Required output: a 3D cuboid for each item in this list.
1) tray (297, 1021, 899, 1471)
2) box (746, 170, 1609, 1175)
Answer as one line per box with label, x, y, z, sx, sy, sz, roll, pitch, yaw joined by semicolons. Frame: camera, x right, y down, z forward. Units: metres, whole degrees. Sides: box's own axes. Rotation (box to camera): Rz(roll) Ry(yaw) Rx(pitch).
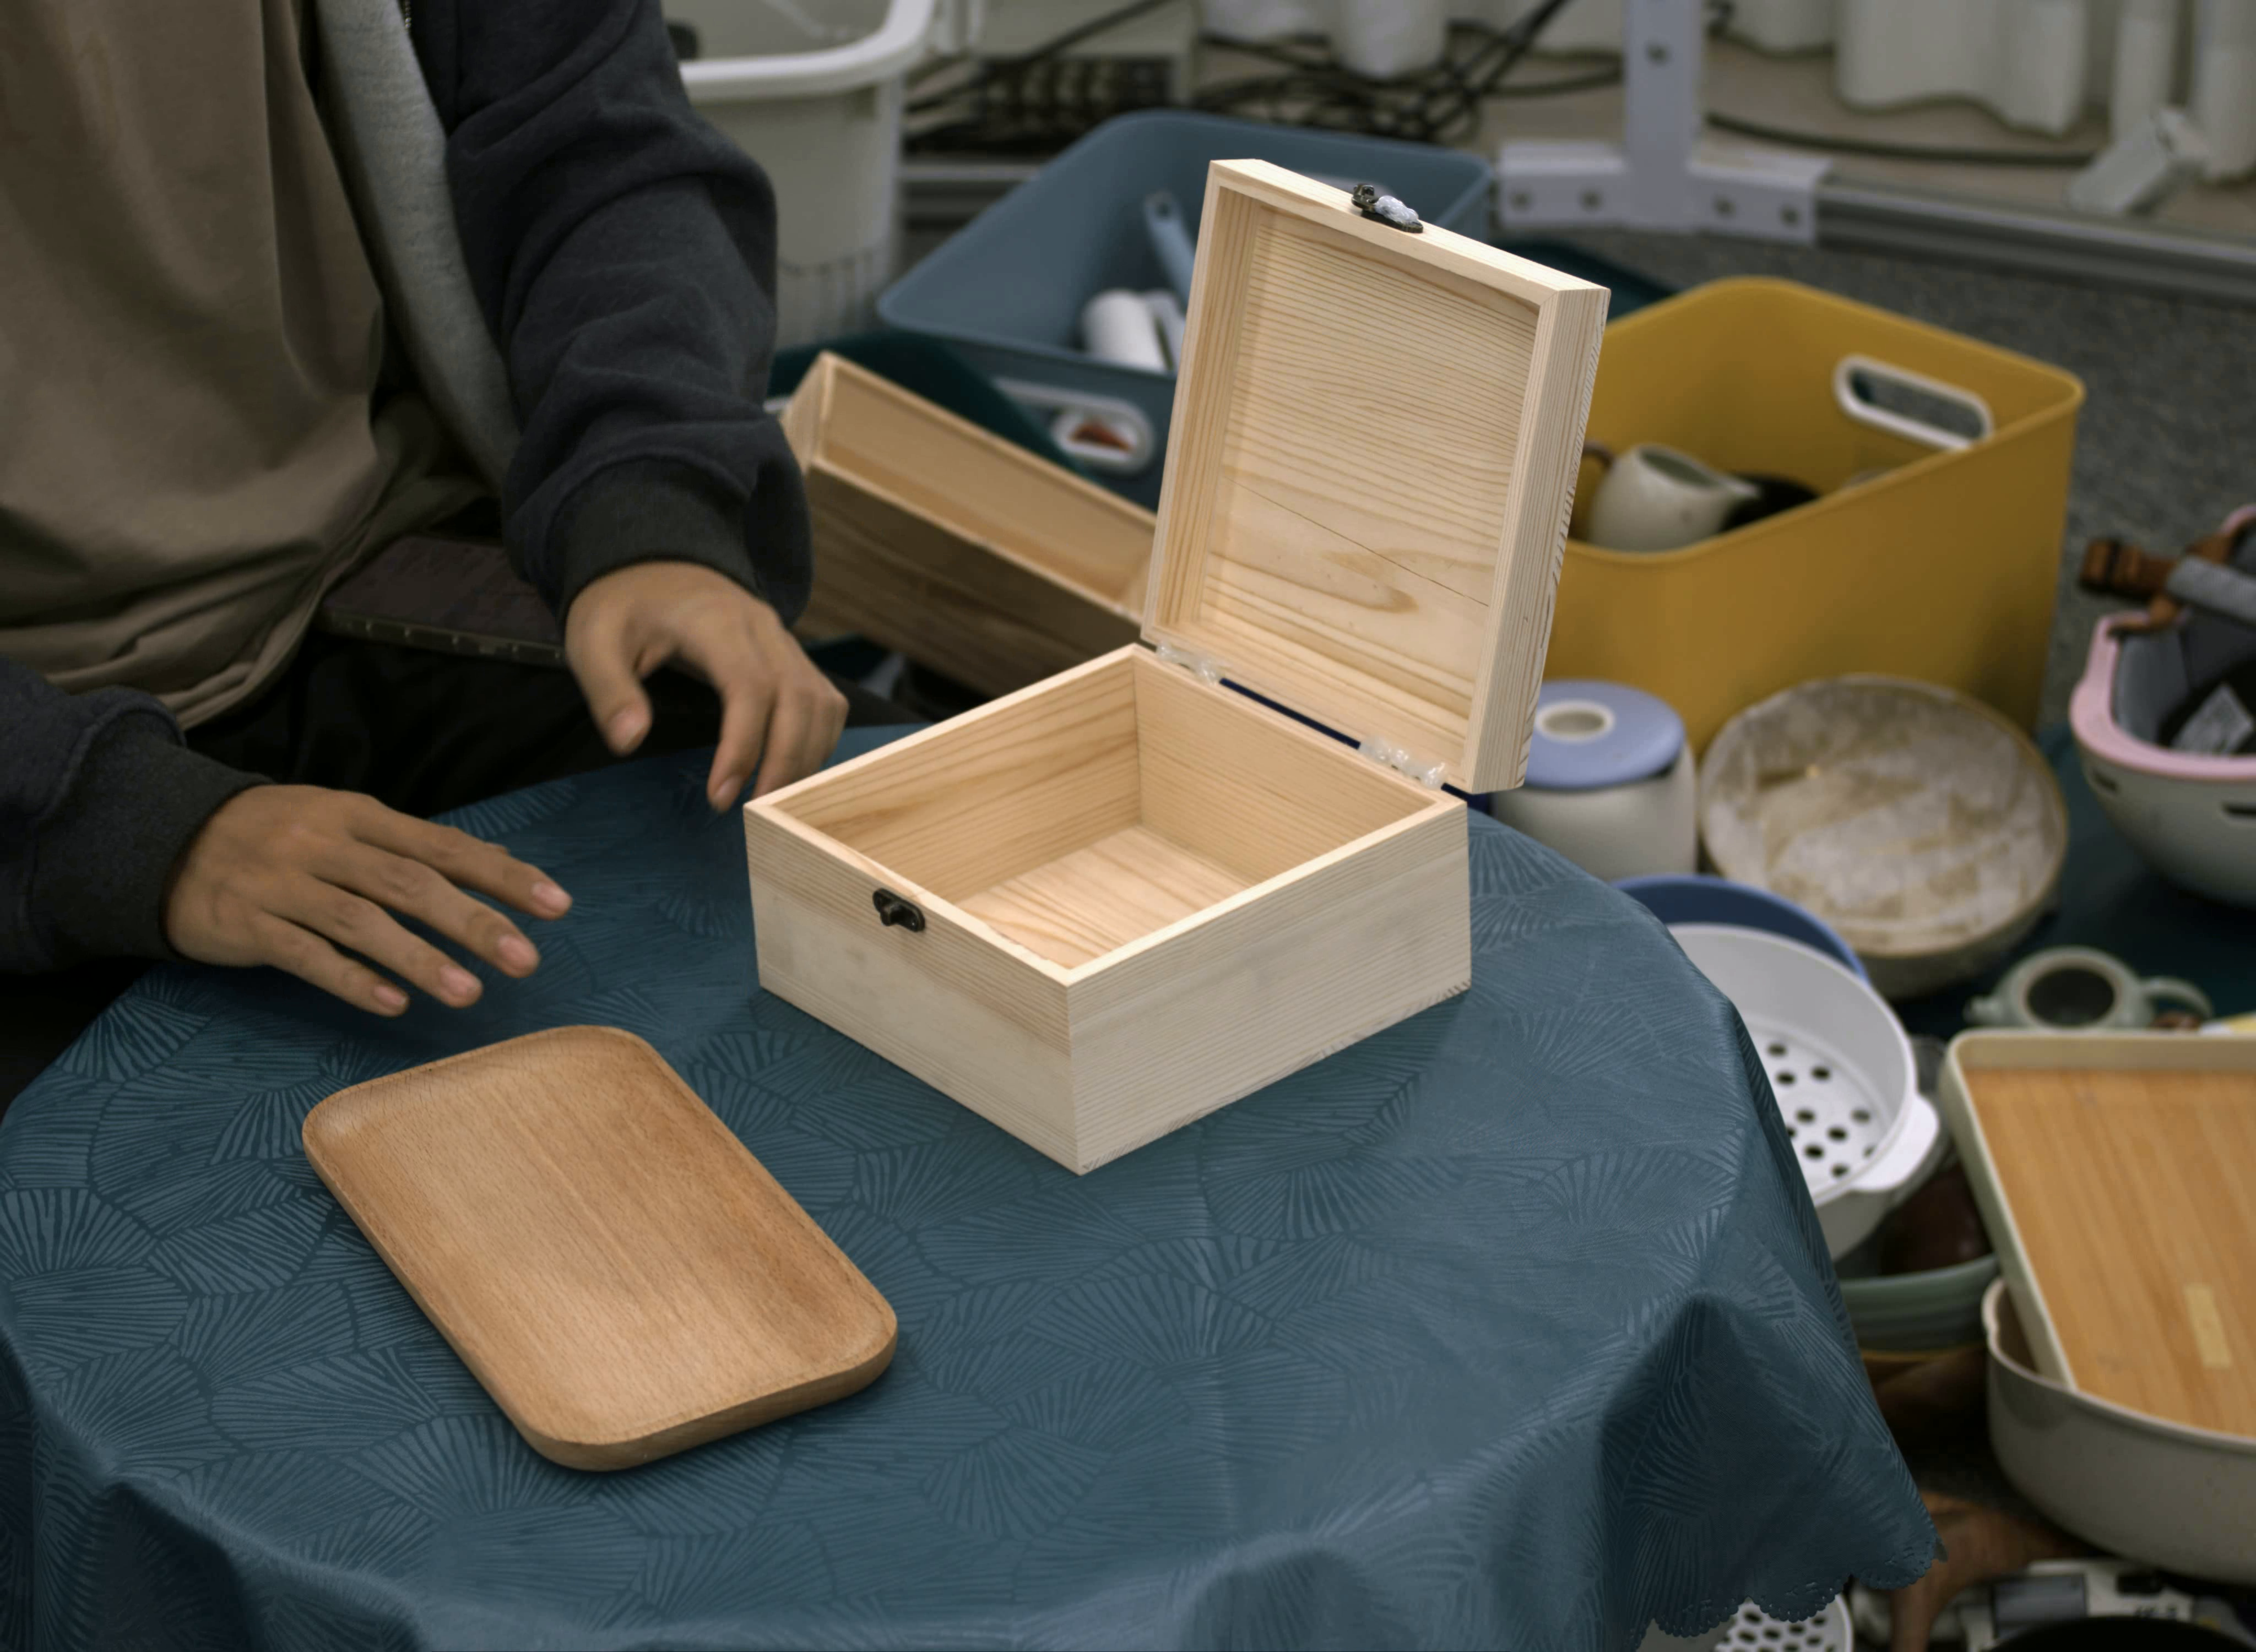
tray;-0.176;0.135;1.835;0.131;0.022;0.252;-13;28;-24
box;0.014;-0.062;1.954;0.268;0.251;0.181;-23;30;-35
